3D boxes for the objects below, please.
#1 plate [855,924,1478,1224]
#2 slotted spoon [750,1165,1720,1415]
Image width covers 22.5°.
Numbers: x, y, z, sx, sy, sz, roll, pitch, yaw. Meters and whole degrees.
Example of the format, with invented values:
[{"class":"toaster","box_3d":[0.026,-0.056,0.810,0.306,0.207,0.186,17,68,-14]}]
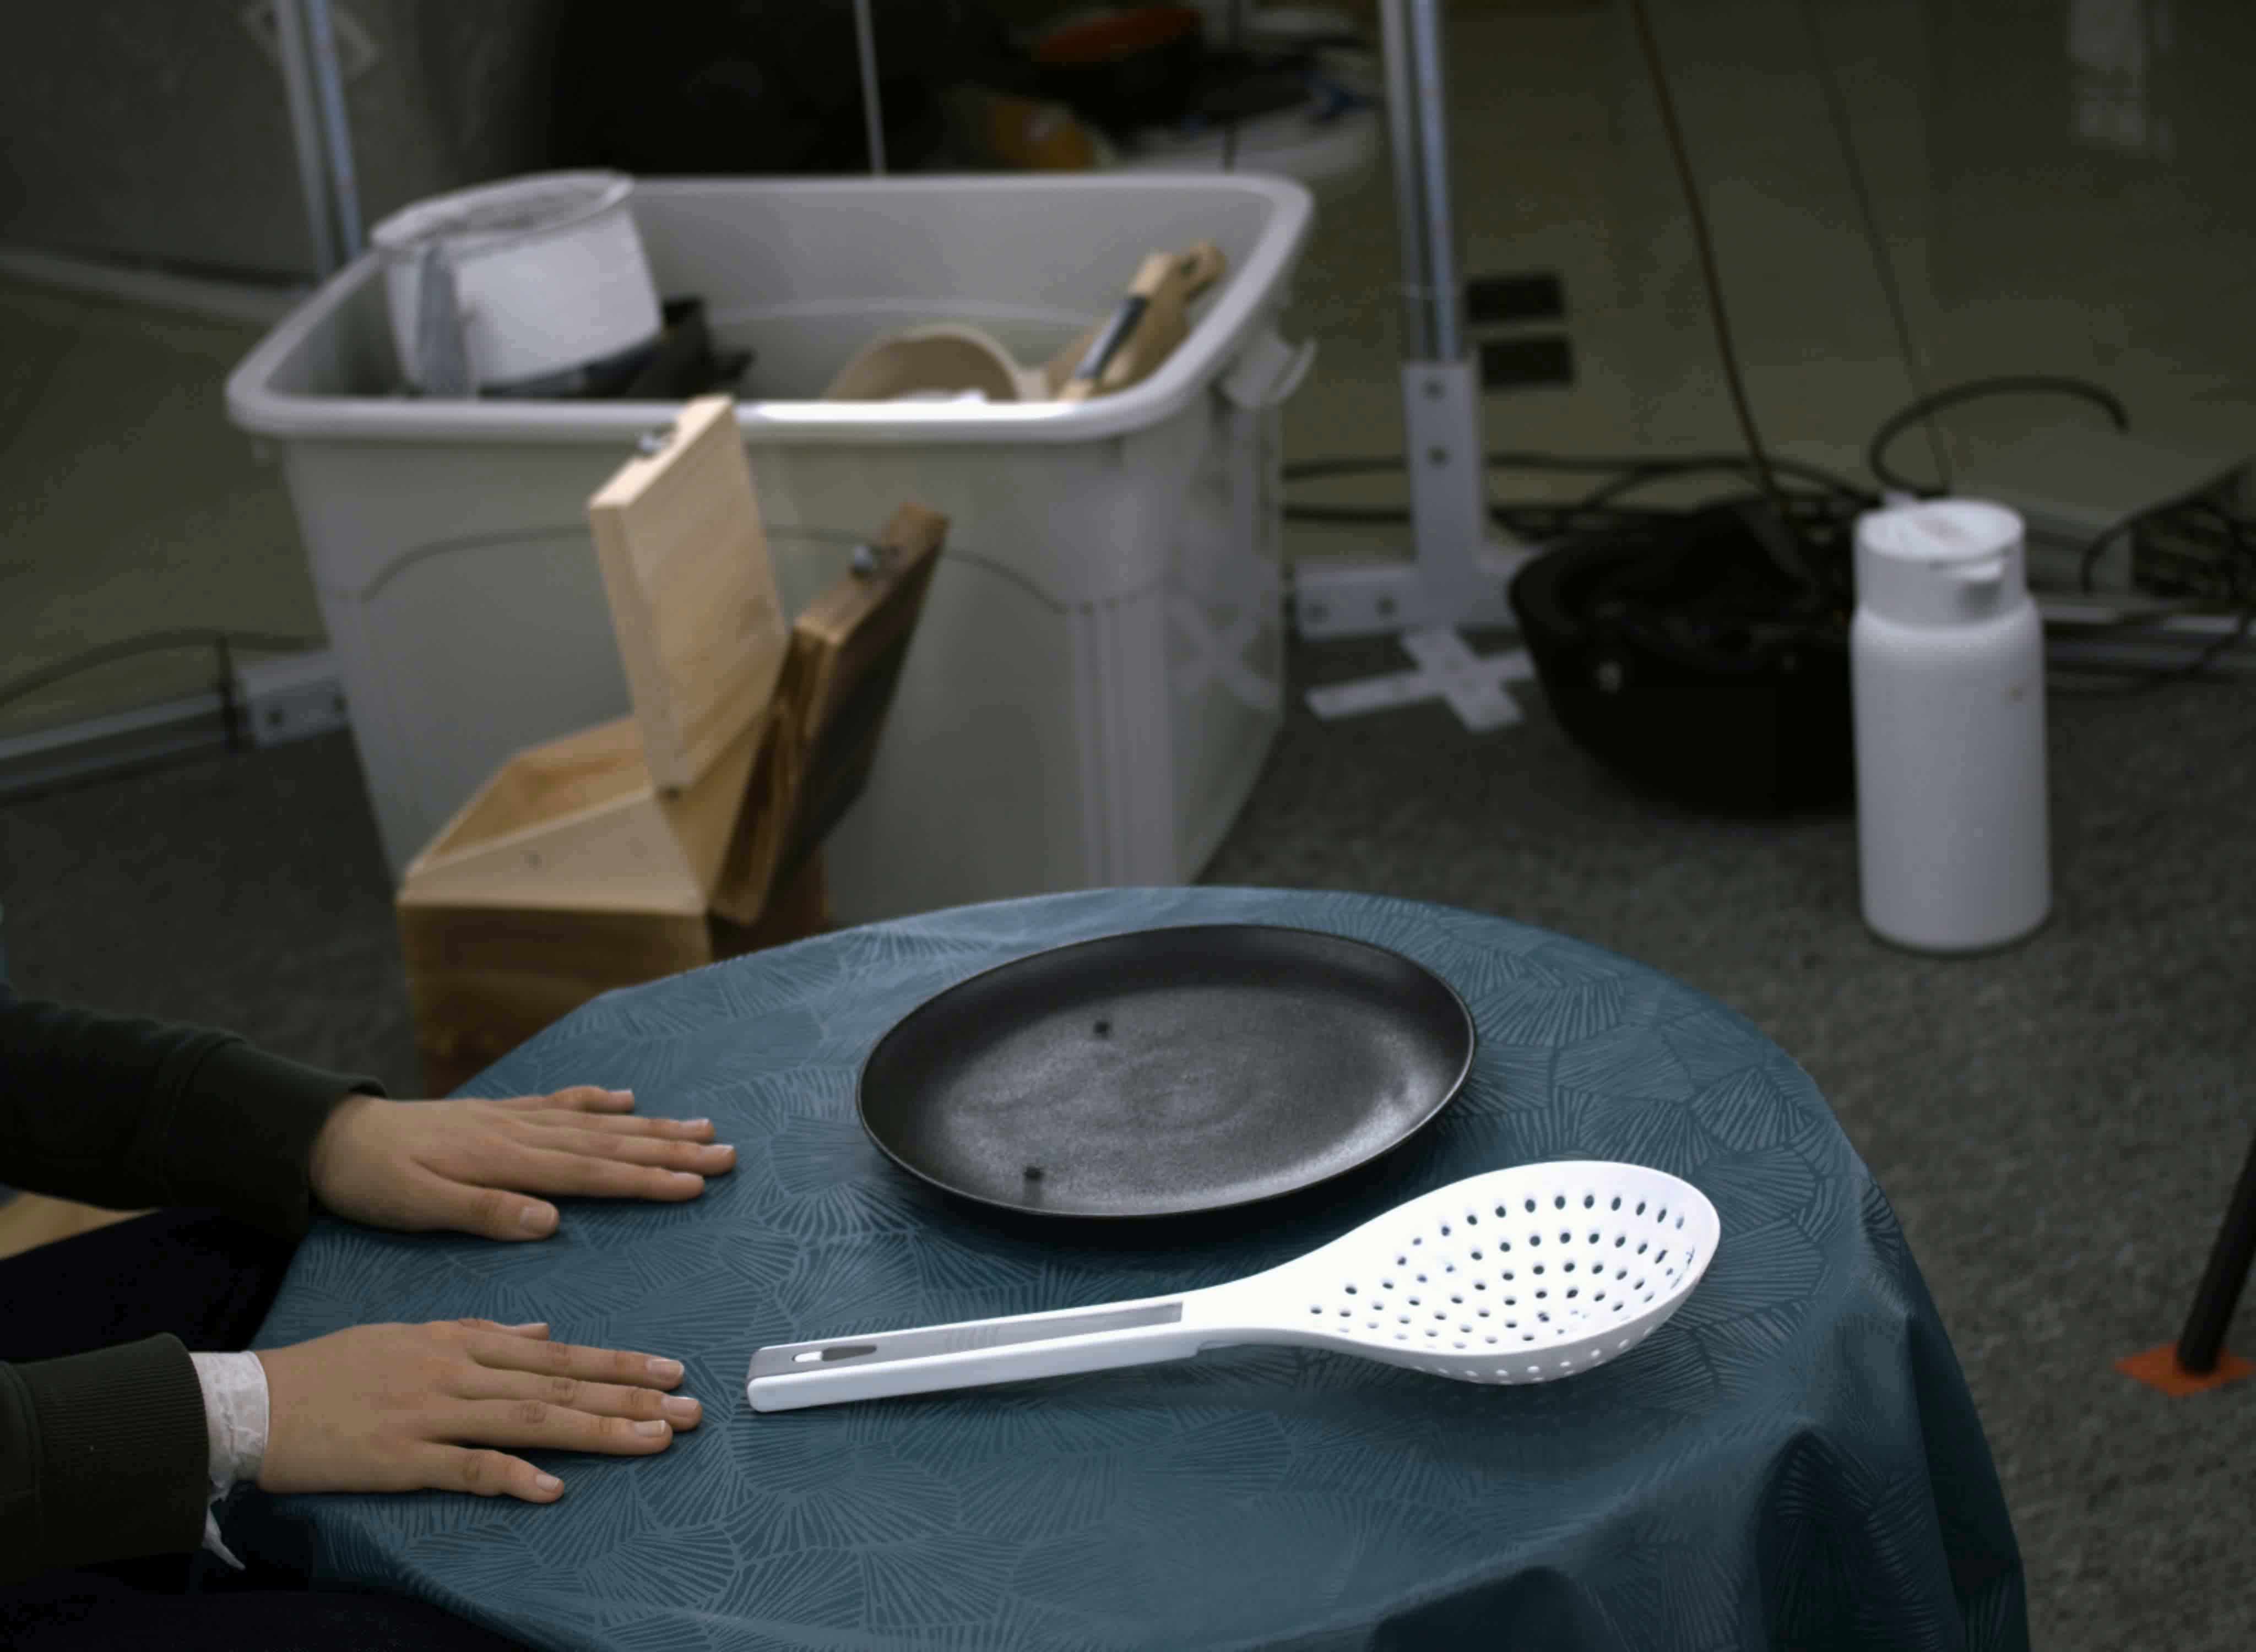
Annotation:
[{"class":"plate","box_3d":[0.015,0.101,2.202,0.244,0.024,0.241,-5,25,3]},{"class":"slotted spoon","box_3d":[0.036,0.175,2.014,0.349,0.046,0.134,-5,23,6]}]
